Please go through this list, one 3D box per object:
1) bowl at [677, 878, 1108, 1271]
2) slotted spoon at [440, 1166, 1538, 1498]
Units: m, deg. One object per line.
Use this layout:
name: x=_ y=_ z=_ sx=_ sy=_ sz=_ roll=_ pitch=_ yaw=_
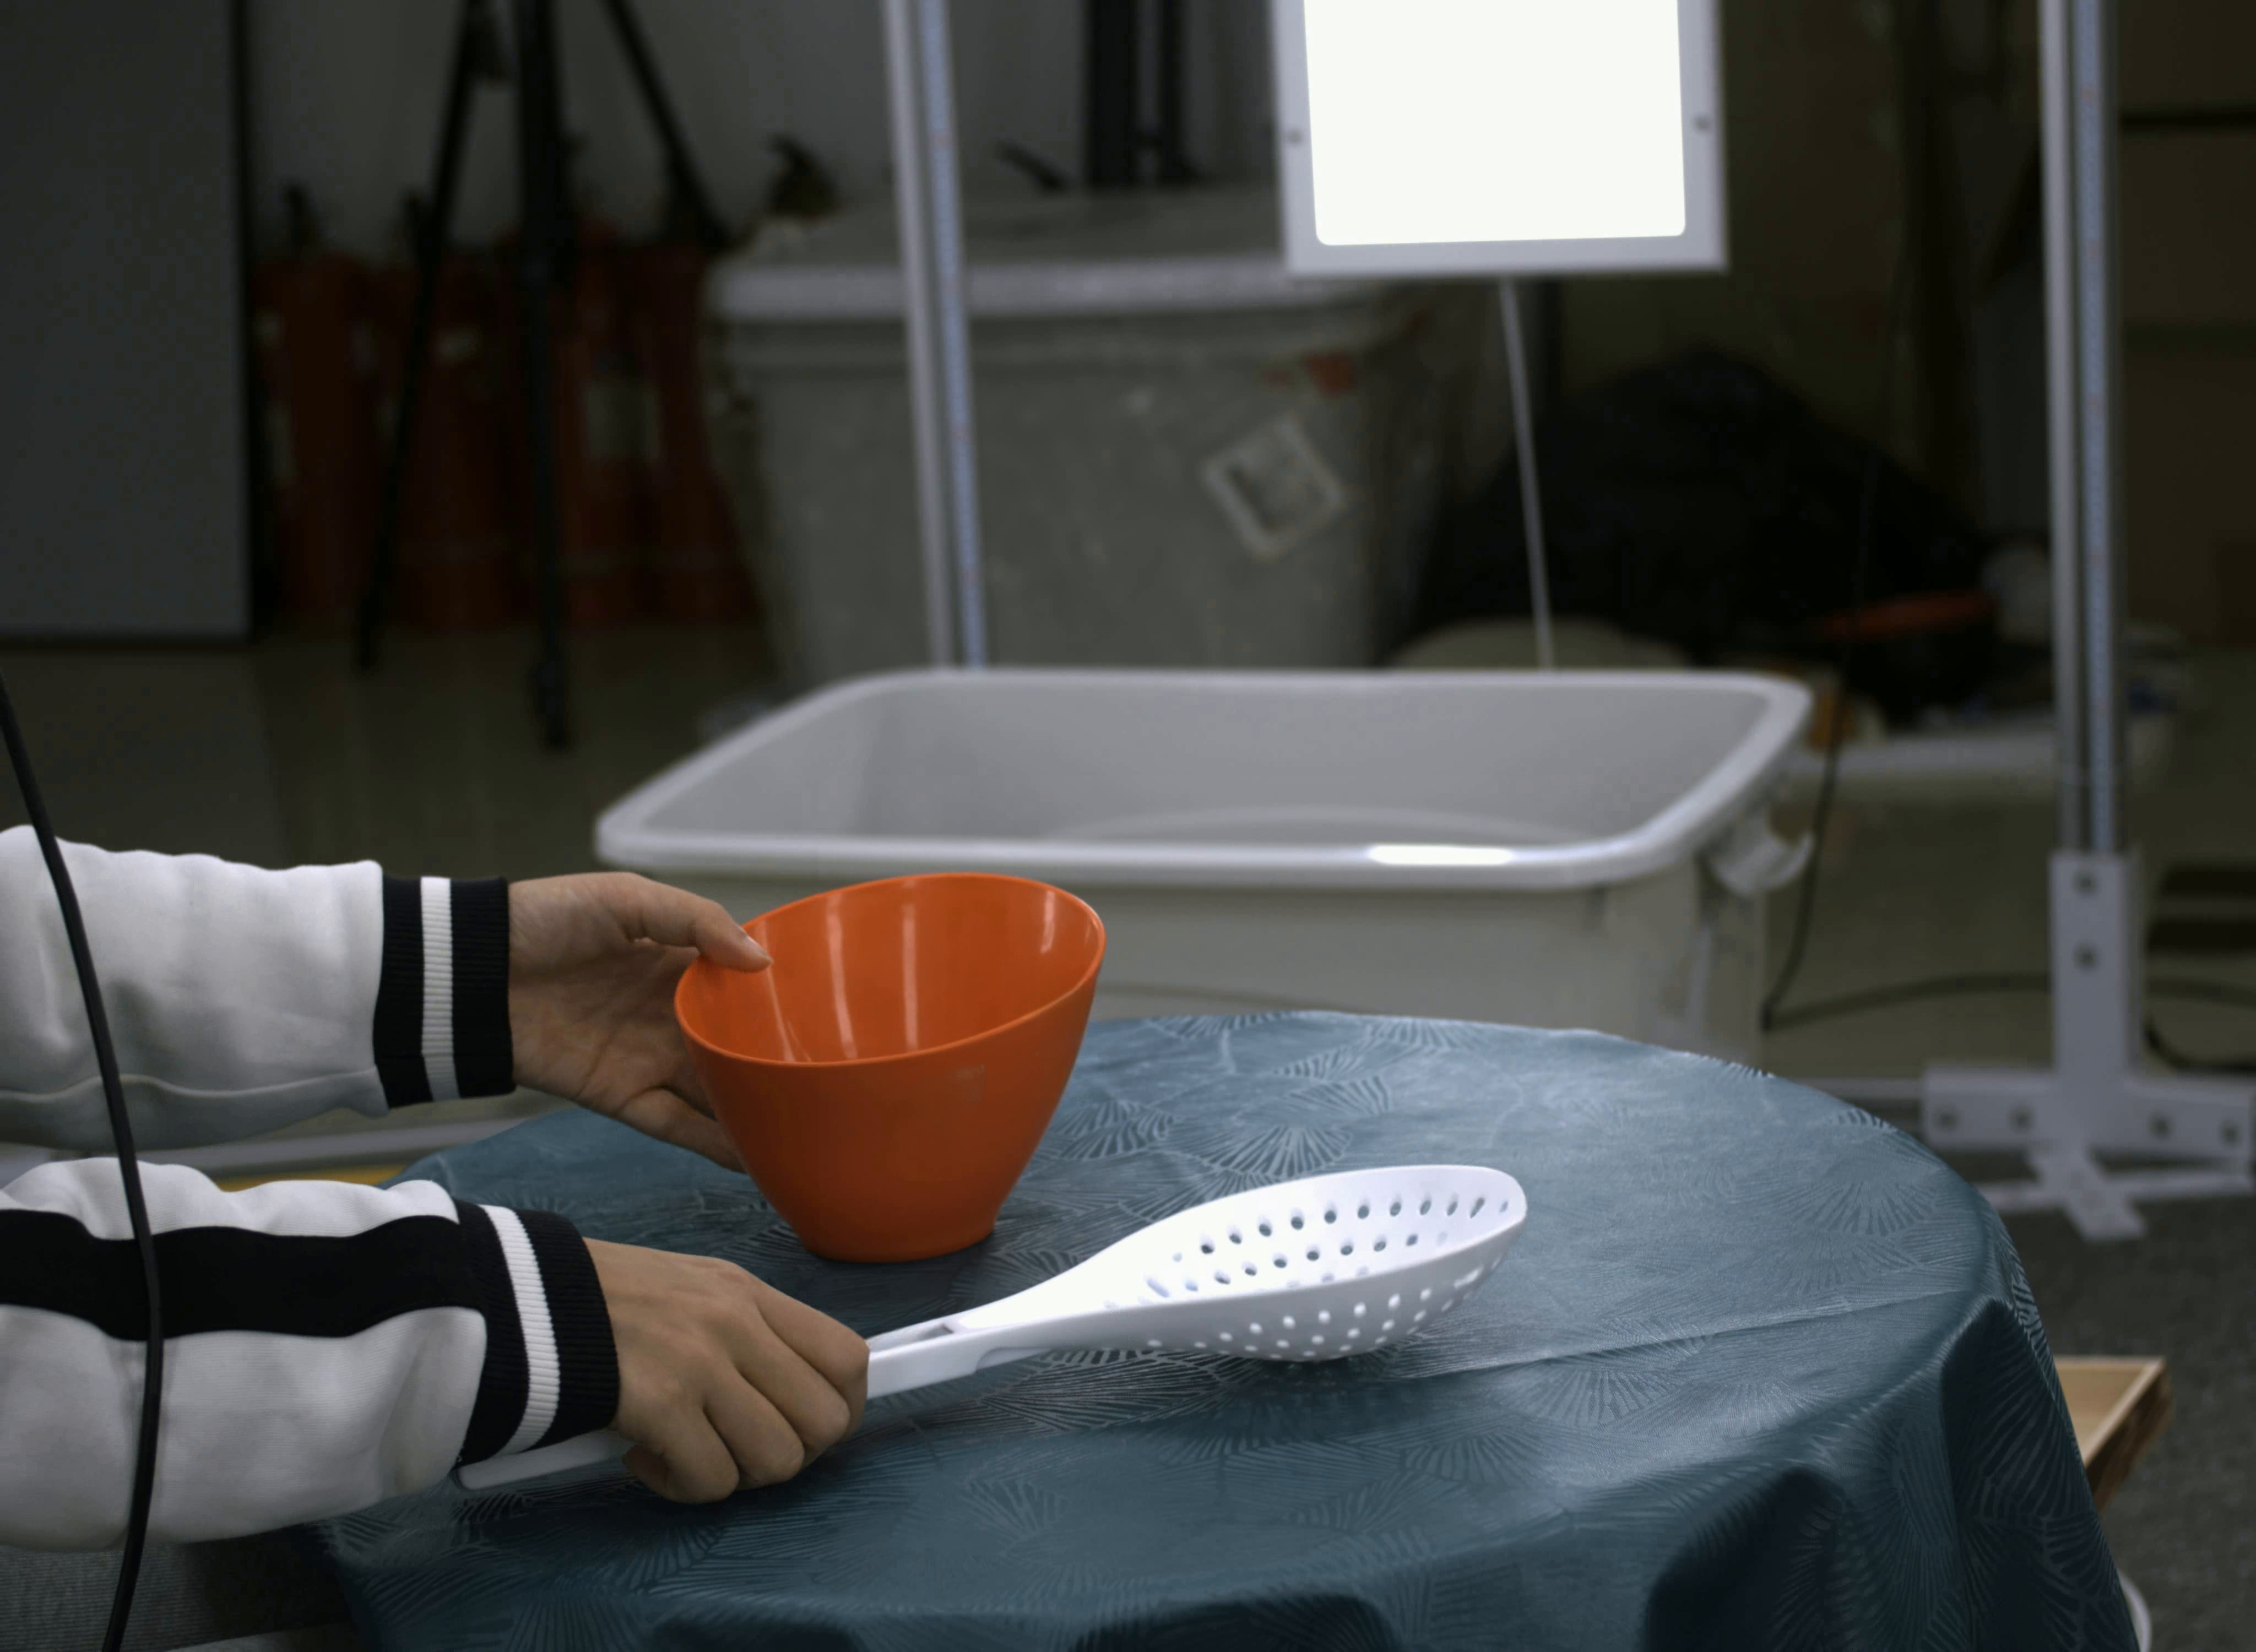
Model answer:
bowl: x=-0.077 y=0.088 z=1.874 sx=0.147 sy=0.105 sz=0.148 roll=-4 pitch=16 yaw=0
slotted spoon: x=-0.039 y=0.156 z=1.689 sx=0.345 sy=0.046 sz=0.137 roll=-8 pitch=9 yaw=-14
